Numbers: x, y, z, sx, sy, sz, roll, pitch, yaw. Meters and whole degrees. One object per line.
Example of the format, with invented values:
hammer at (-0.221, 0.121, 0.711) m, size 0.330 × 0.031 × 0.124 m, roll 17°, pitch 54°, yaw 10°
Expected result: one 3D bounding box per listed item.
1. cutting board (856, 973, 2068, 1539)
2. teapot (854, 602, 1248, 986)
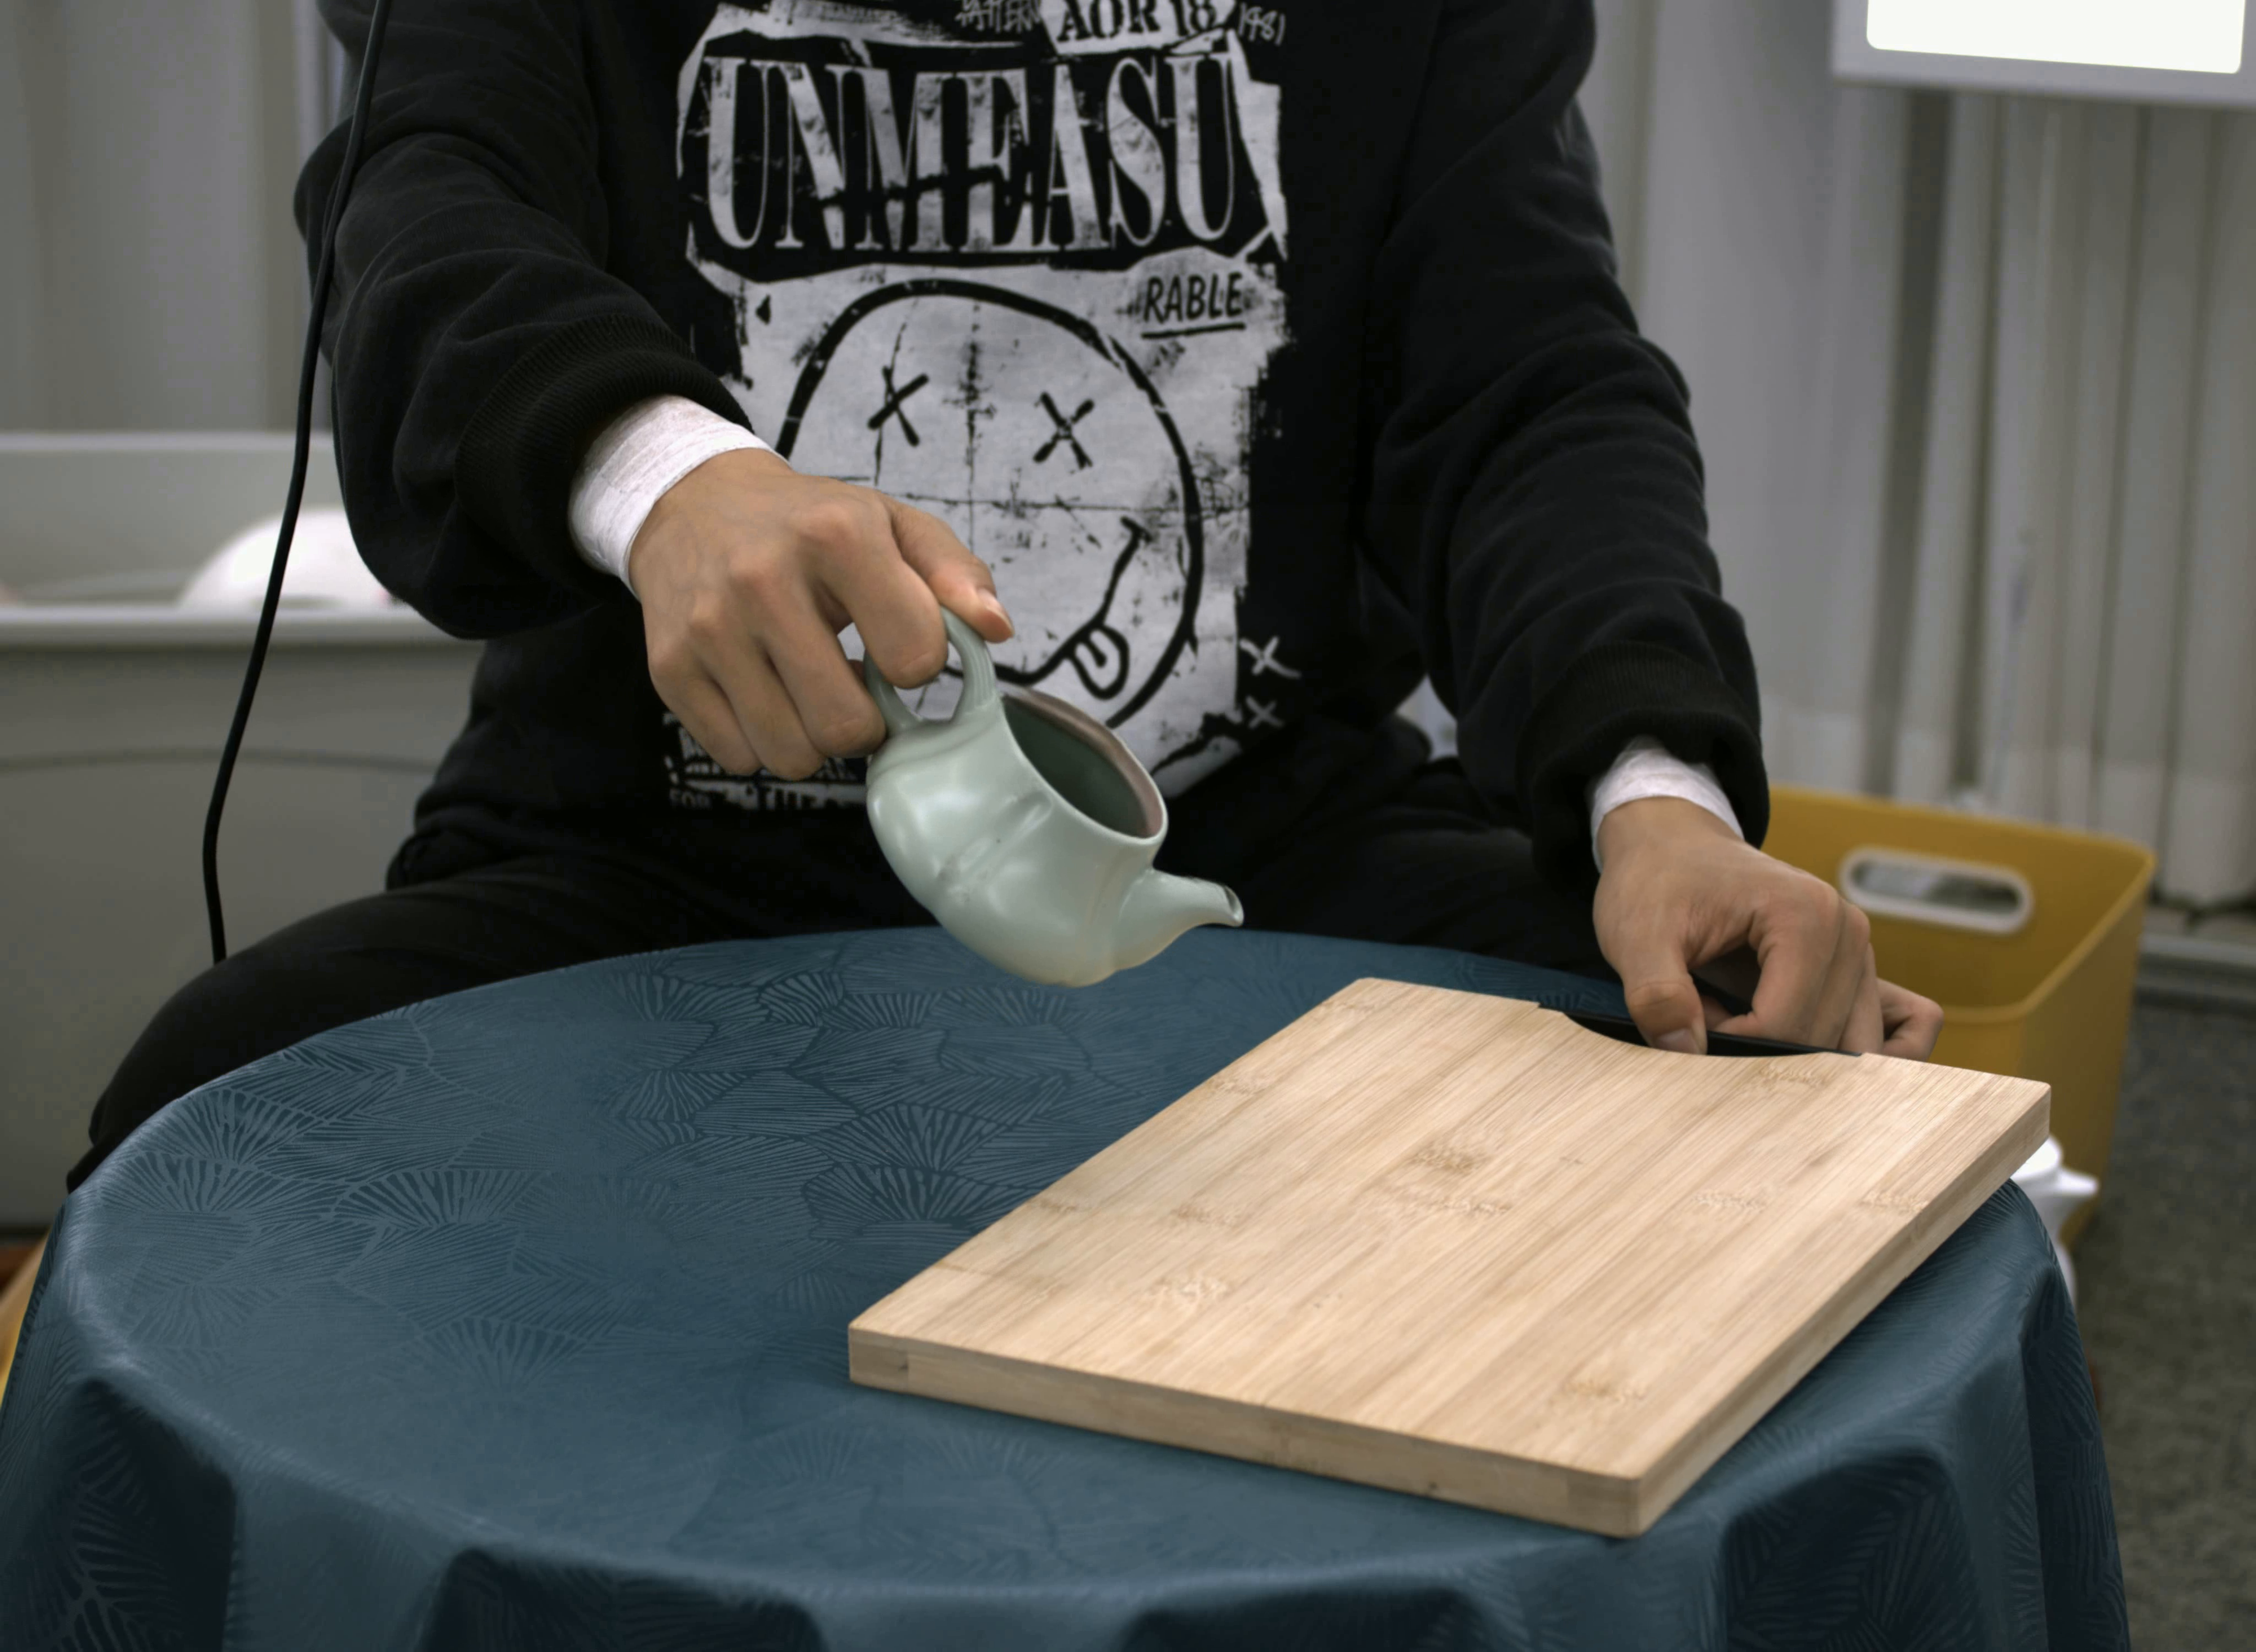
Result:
cutting board at (0.108, 0.117, 1.561) m, size 0.248 × 0.024 × 0.349 m, roll 8°, pitch 19°, yaw 25°
teapot at (-0.032, -0.004, 1.533) m, size 0.137 × 0.061 × 0.096 m, roll 45°, pitch 24°, yaw -1°
